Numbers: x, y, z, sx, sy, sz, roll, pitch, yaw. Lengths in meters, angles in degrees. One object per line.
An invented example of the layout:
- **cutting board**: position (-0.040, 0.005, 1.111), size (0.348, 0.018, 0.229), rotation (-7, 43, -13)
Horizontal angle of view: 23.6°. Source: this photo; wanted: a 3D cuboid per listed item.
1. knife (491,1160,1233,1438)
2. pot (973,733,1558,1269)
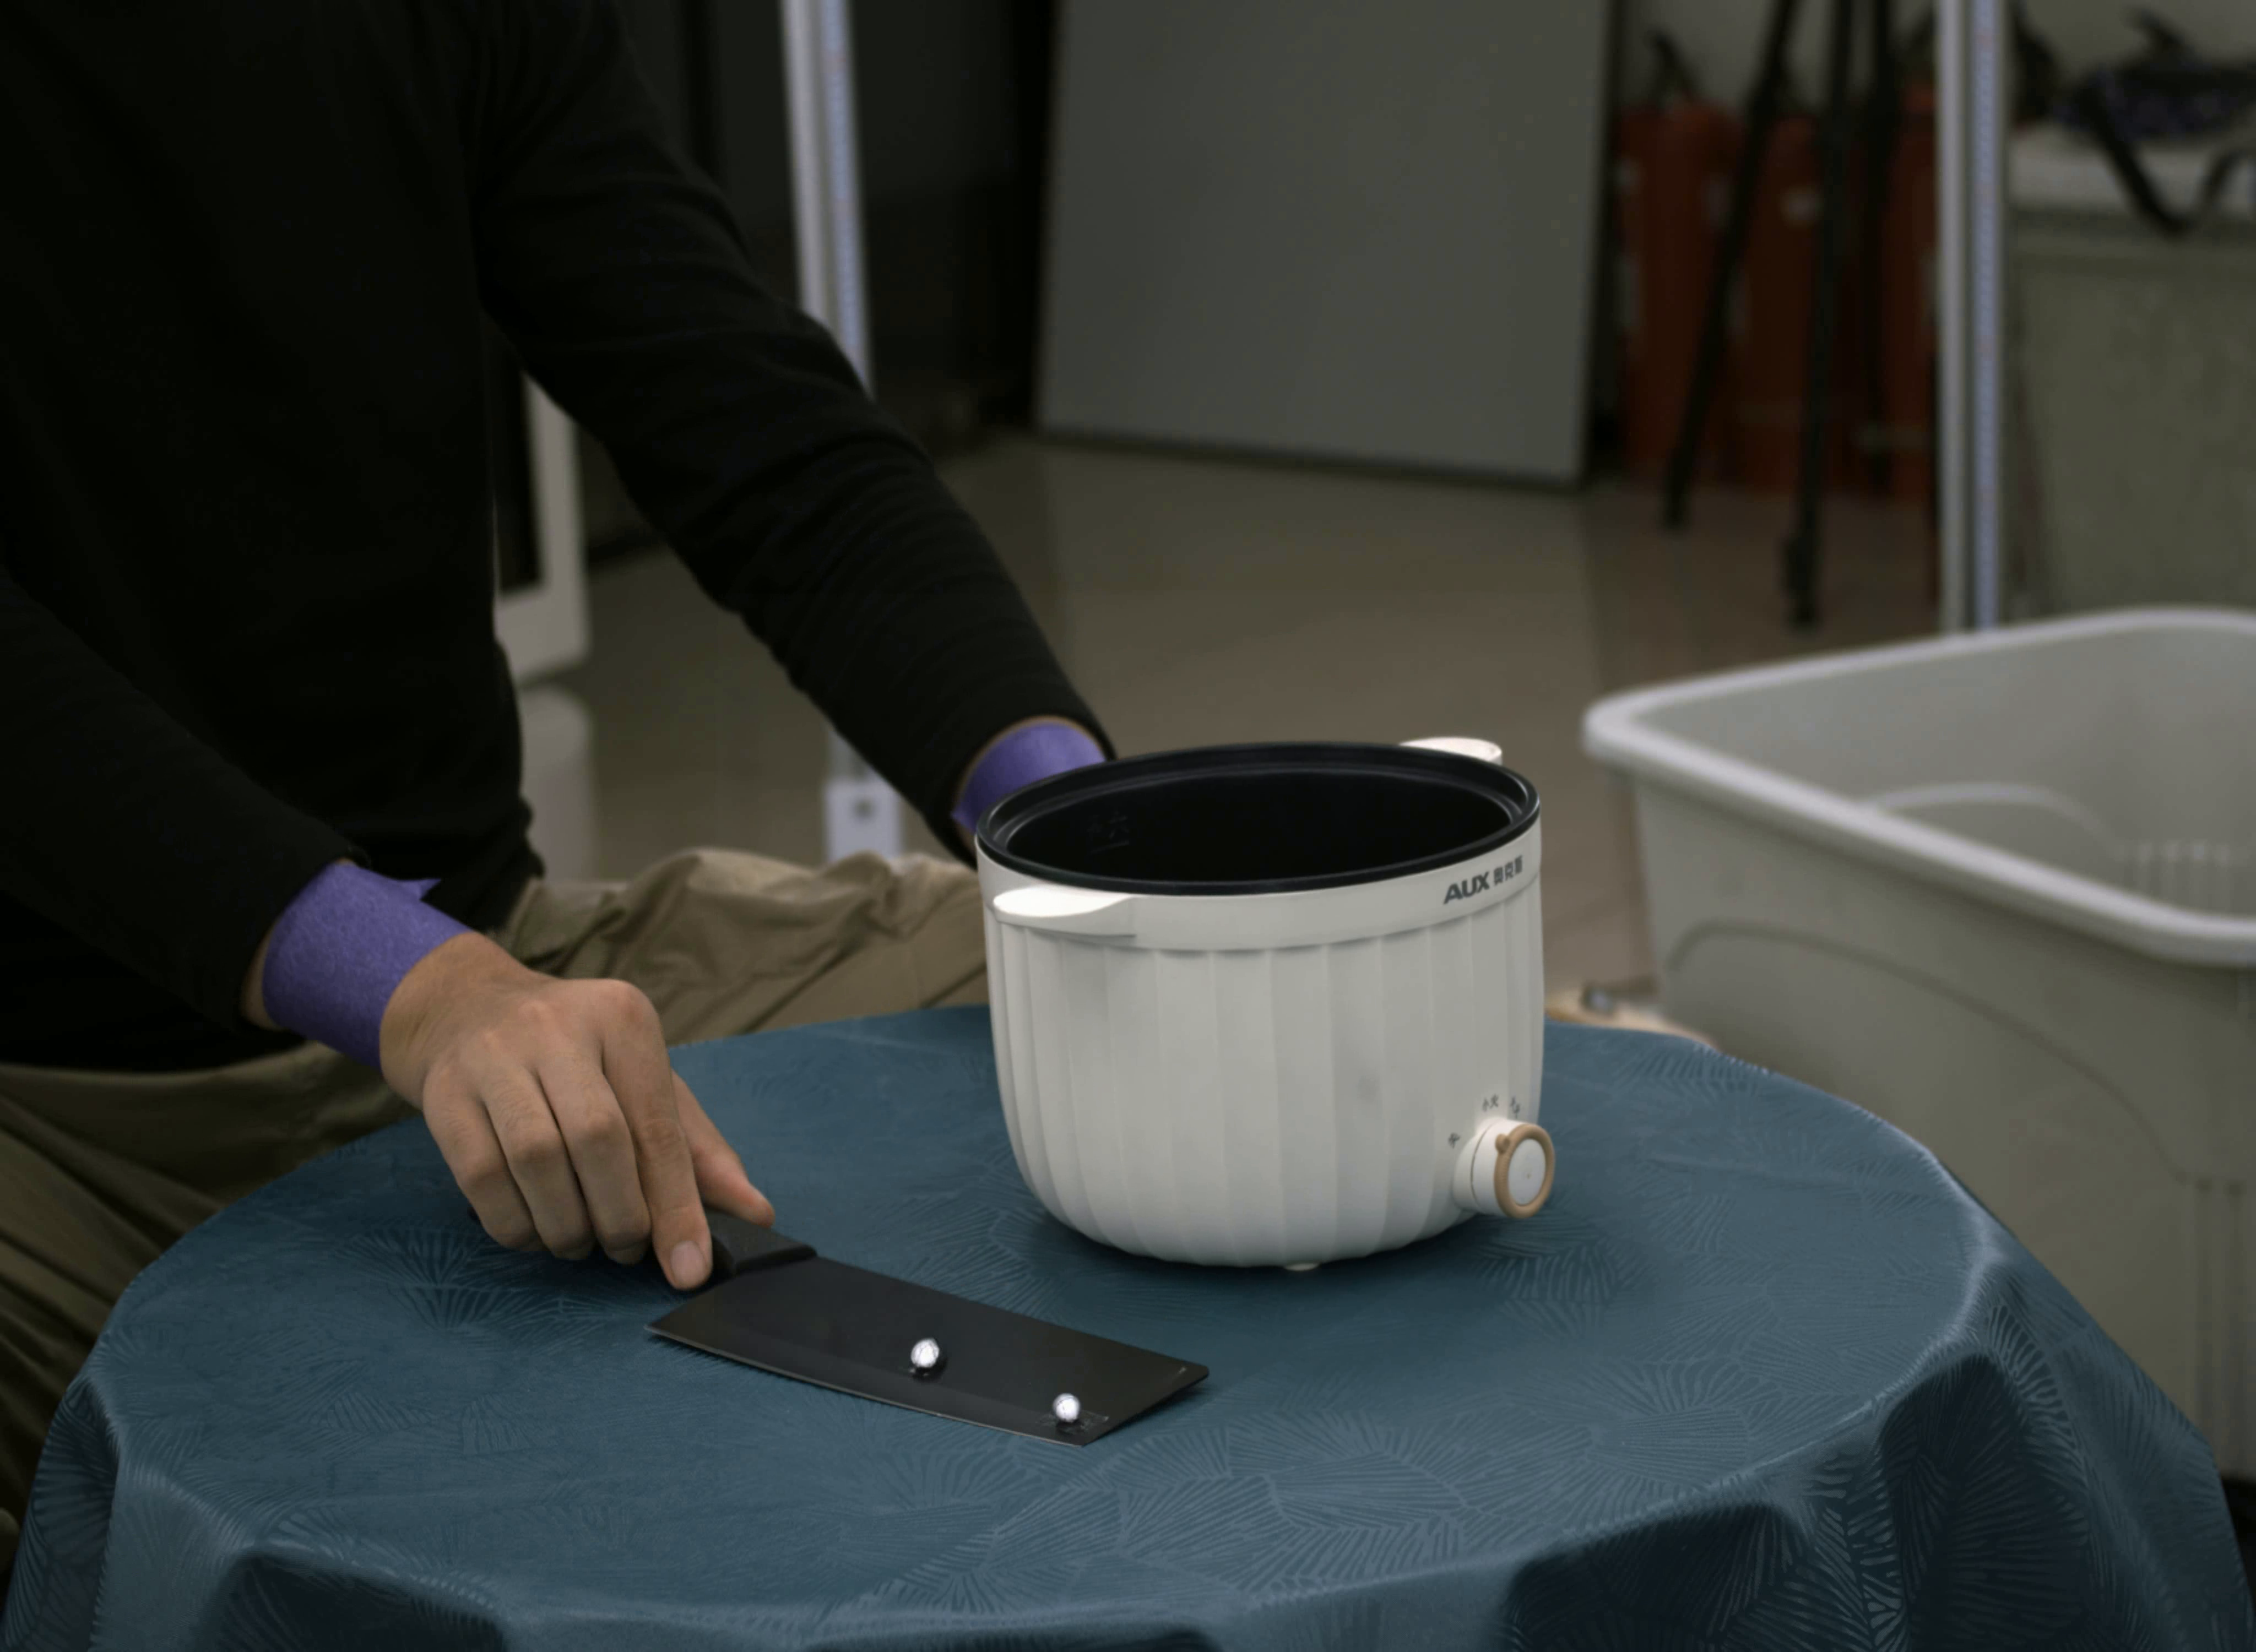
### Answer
- **knife**: position (-0.095, 0.146, 1.674), size (0.079, 0.021, 0.305), rotation (-23, 25, -39)
- **pot**: position (0.050, 0.058, 1.725), size (0.192, 0.144, 0.236), rotation (3, 16, 40)
